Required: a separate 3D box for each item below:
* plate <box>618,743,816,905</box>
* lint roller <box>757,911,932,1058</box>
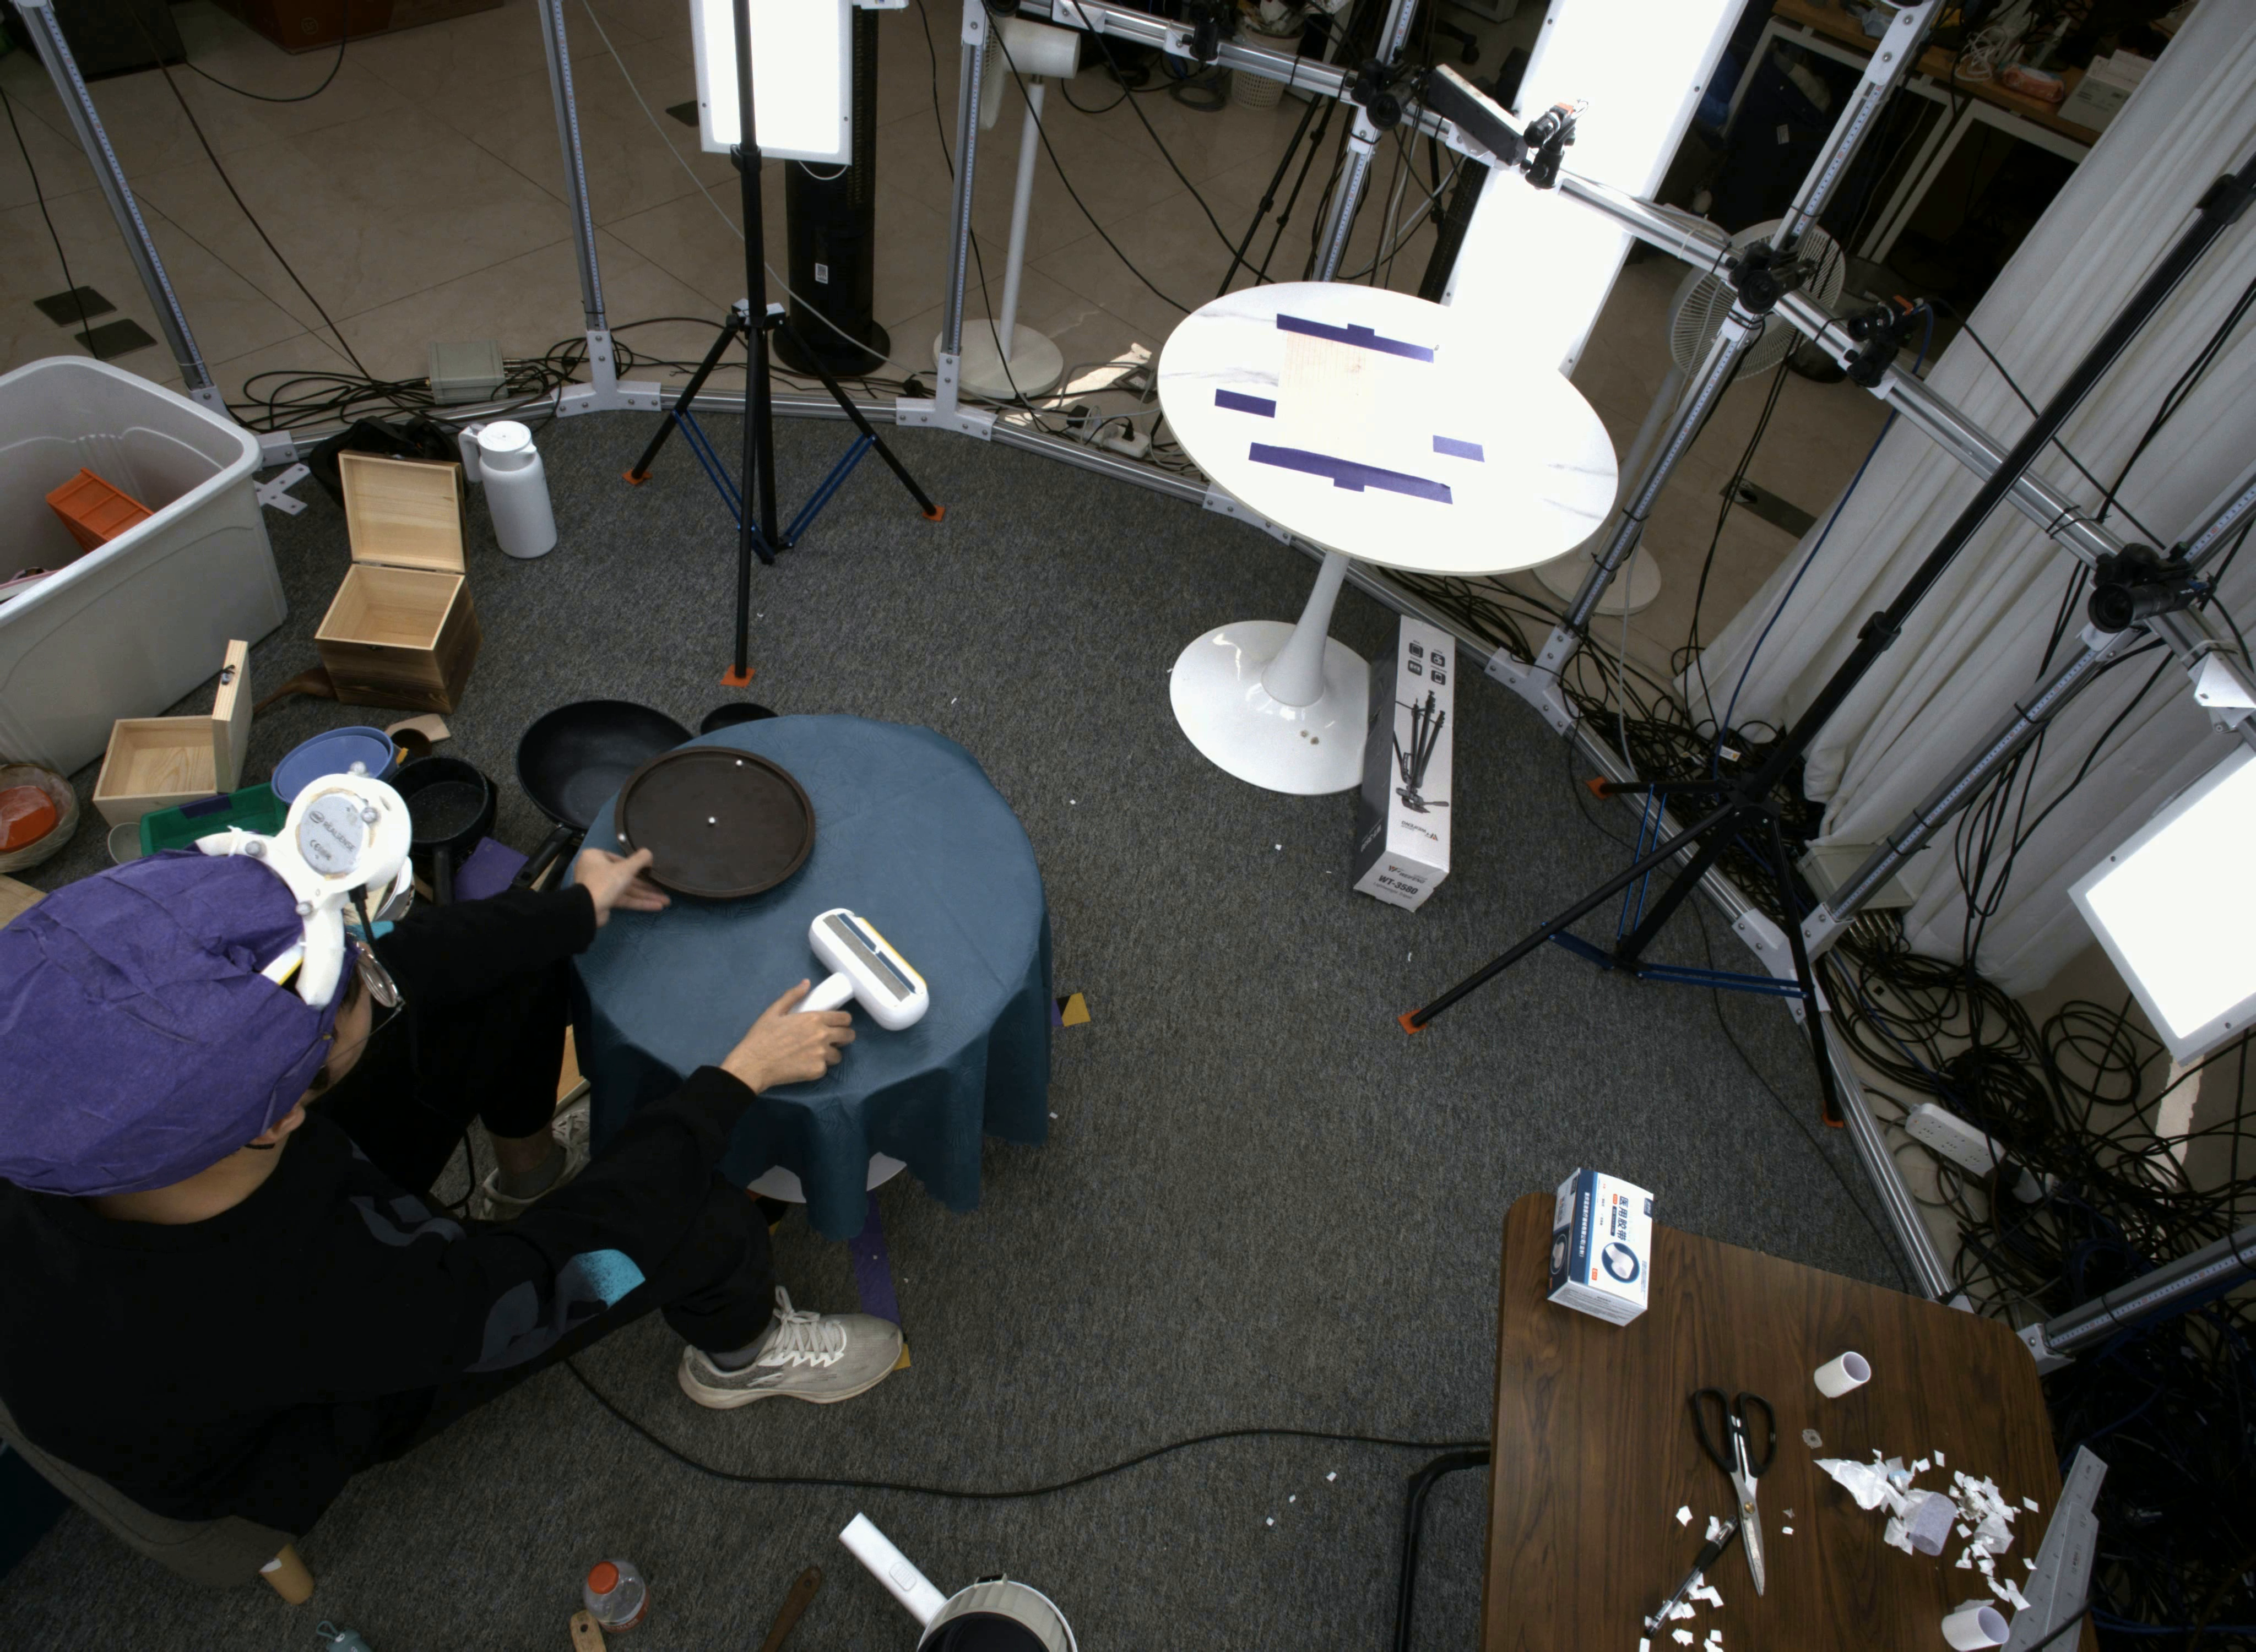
[{"bbox_3d":[-0.532,-0.004,1.671,0.256,0.029,0.250,13,50,-14],"label":"plate"},{"bbox_3d":[-0.357,0.205,1.553,0.193,0.076,0.187,-29,60,-29],"label":"lint roller"}]
